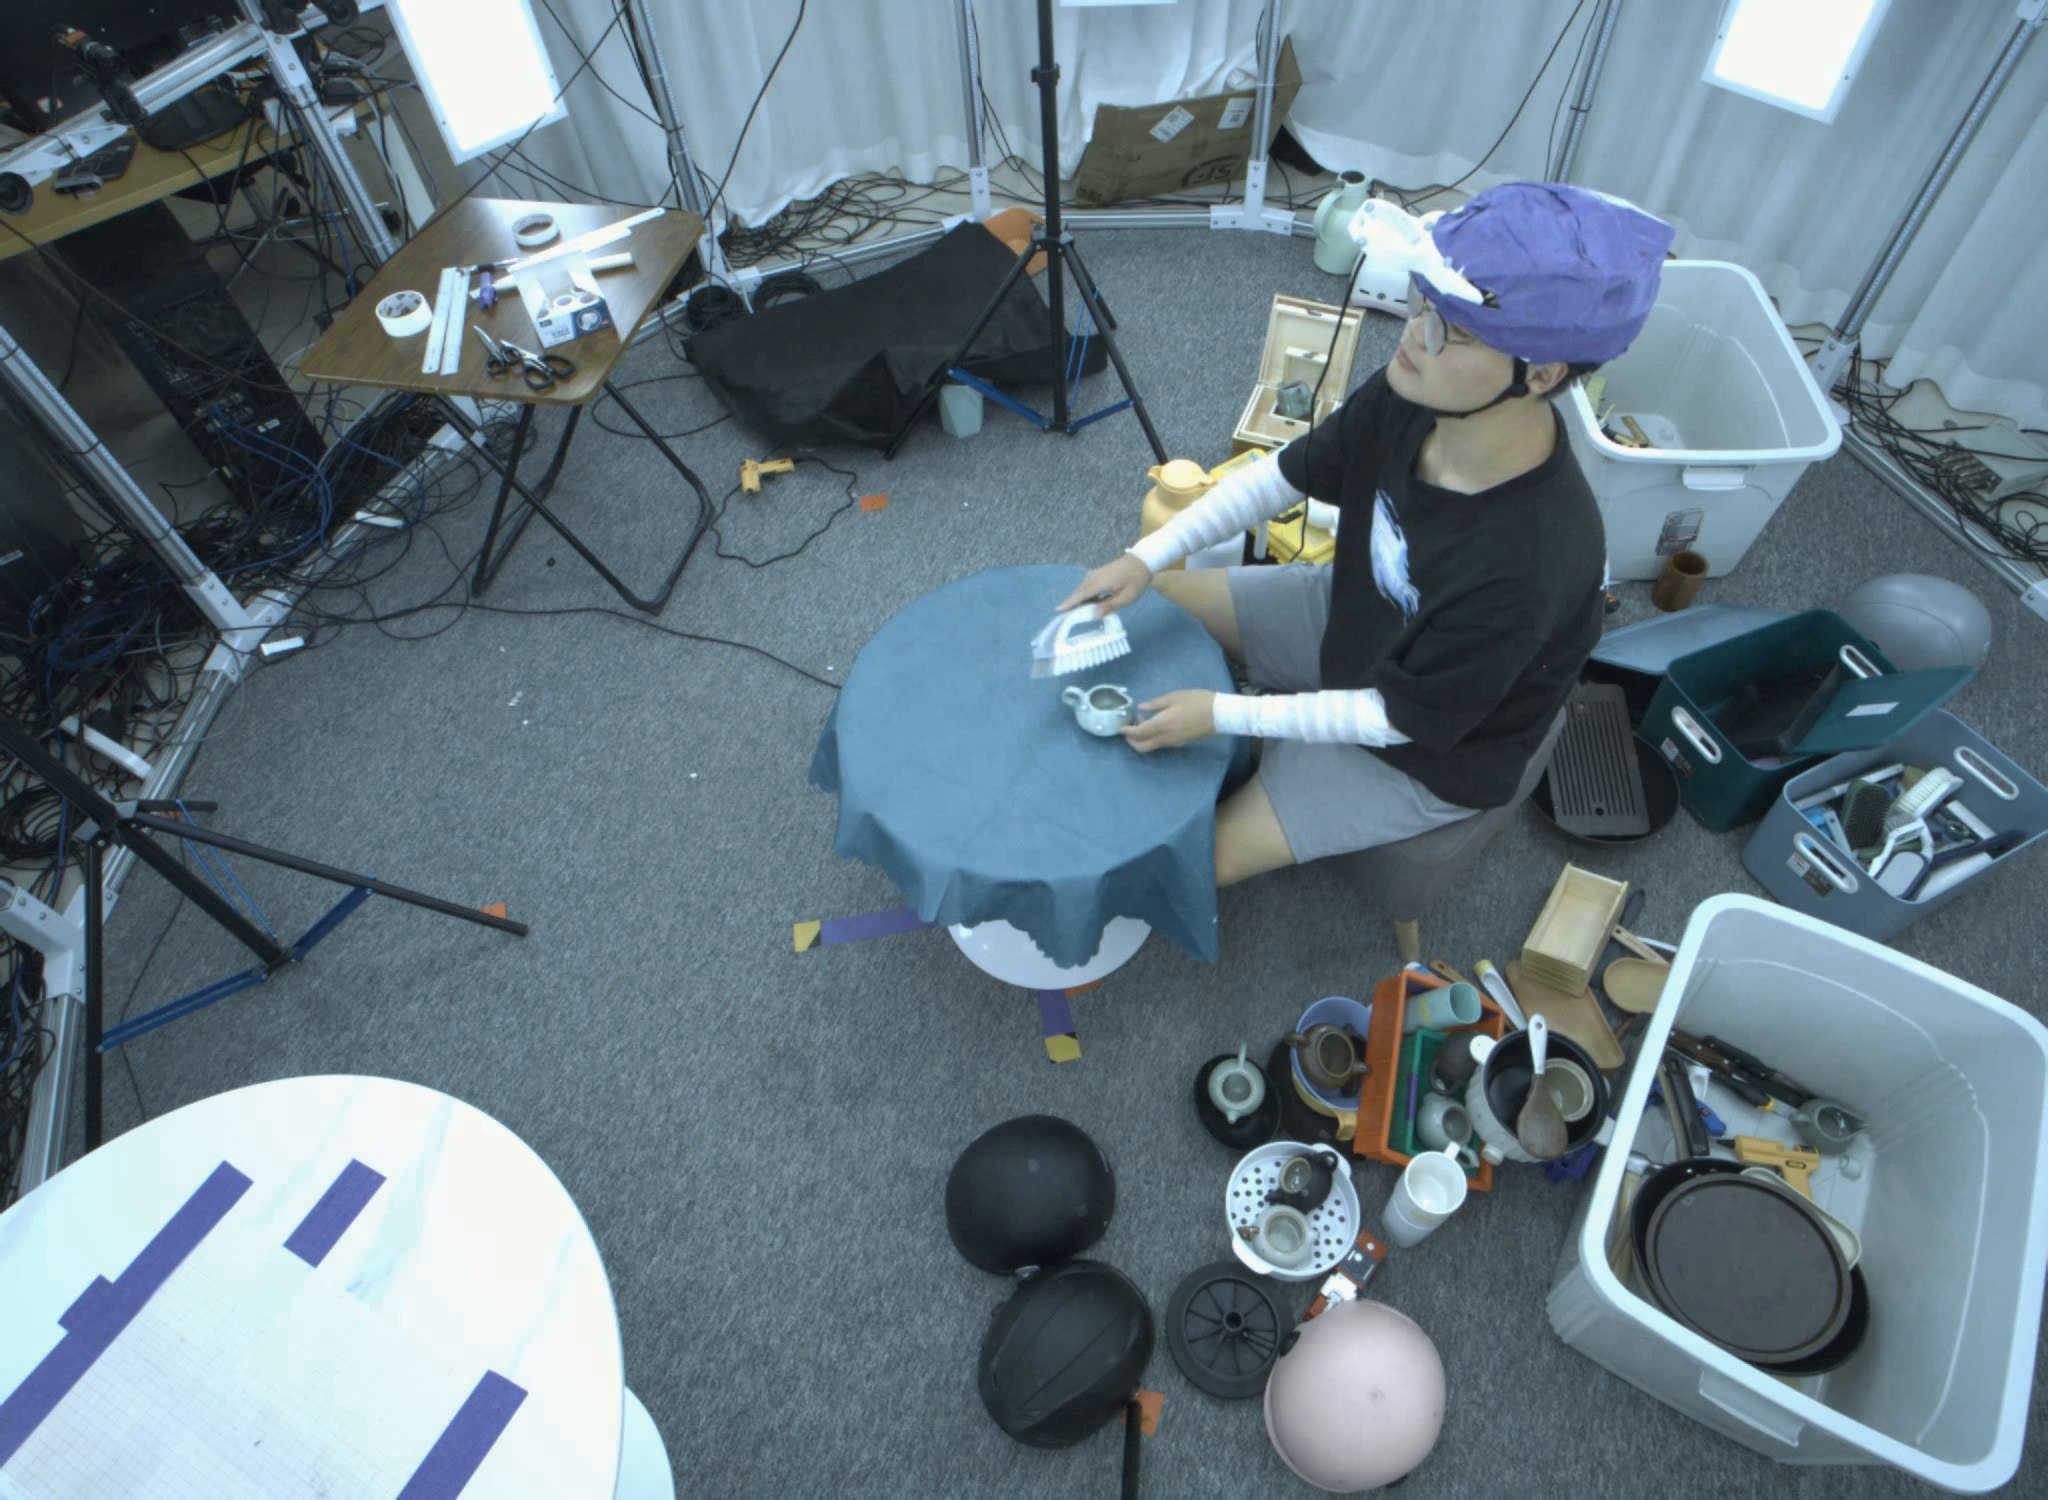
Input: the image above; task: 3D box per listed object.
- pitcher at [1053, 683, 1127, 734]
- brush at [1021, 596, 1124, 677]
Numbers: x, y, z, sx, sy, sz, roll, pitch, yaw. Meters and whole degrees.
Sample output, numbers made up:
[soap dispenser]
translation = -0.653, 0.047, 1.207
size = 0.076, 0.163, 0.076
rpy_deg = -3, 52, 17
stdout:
[pitcher]
translation = 0.095, -0.065, 1.787
size = 0.107, 0.061, 0.085
rpy_deg = 9, 55, 12
[brush]
translation = 0.060, -0.169, 1.790
size = 0.178, 0.095, 0.060
rpy_deg = -23, 18, -33
